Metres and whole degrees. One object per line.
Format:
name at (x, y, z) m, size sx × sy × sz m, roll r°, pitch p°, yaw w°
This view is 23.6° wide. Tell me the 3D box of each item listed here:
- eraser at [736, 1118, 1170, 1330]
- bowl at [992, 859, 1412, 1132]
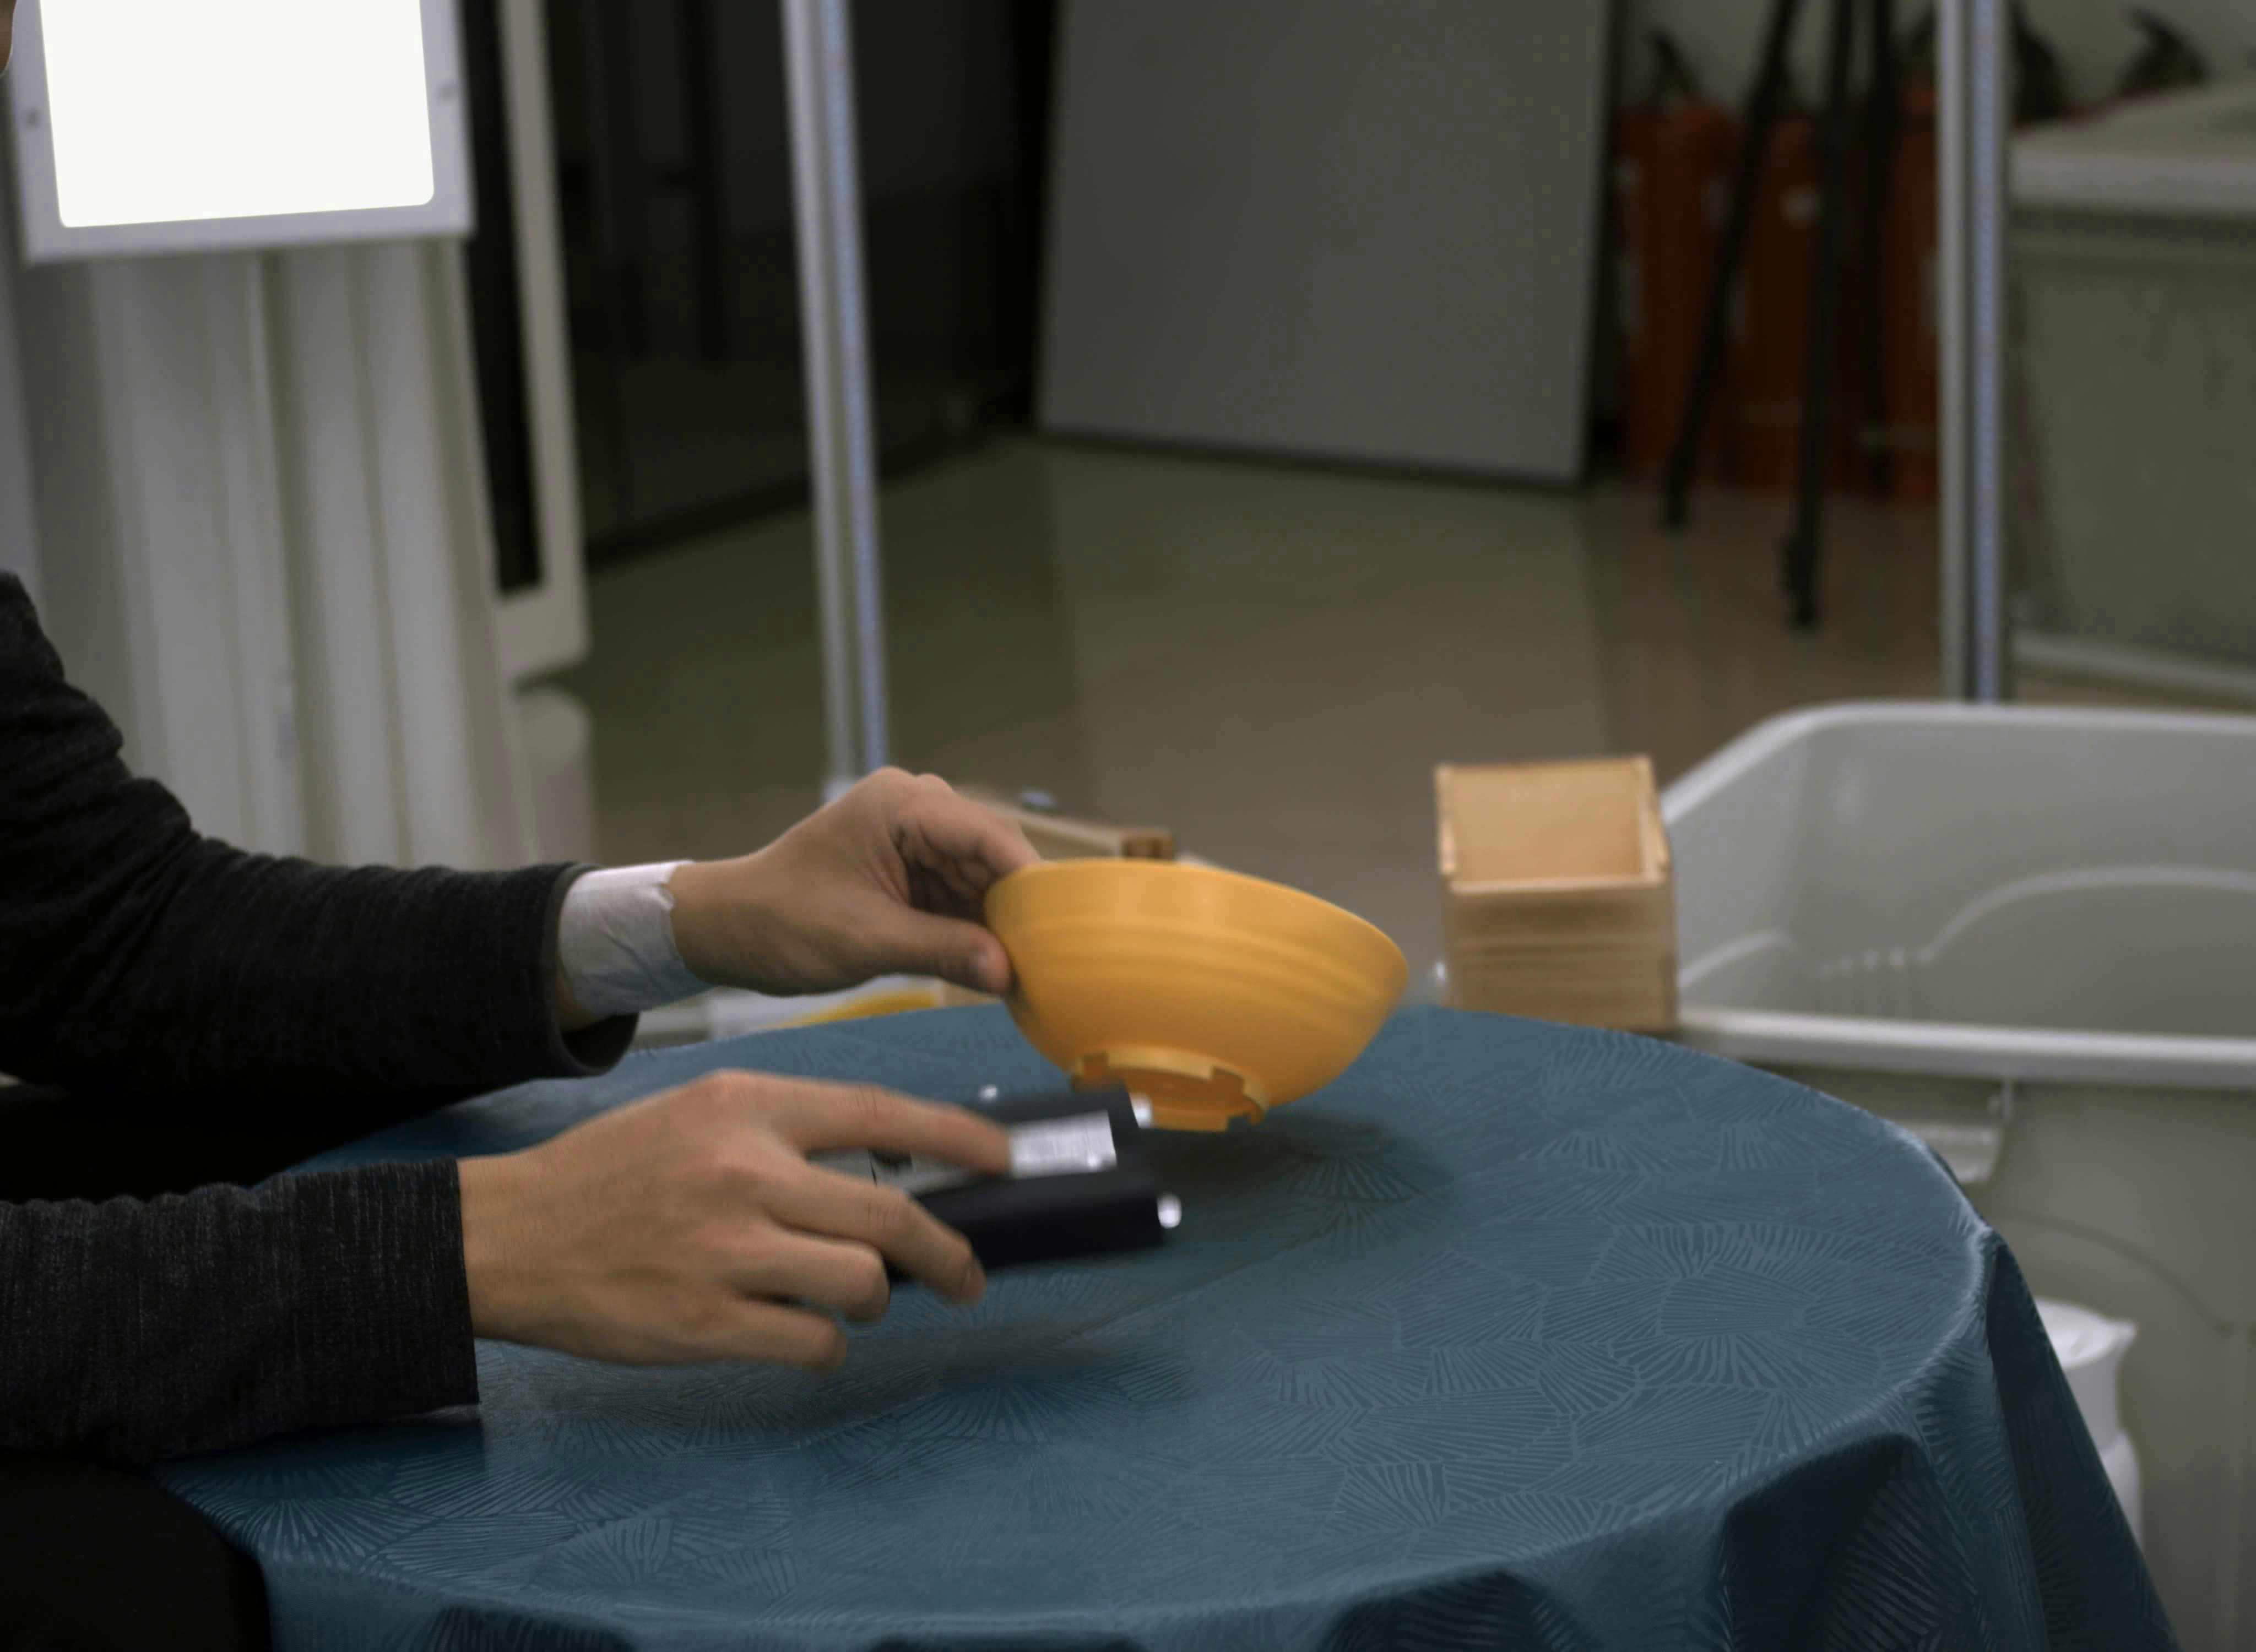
eraser at (-0.052, 0.118, 1.607) m, size 0.123 × 0.030 × 0.054 m, roll -5°, pitch 39°, yaw -8°
bowl at (0.020, 0.063, 1.786) m, size 0.144 × 0.061 × 0.145 m, roll 10°, pitch -18°, yaw 2°
